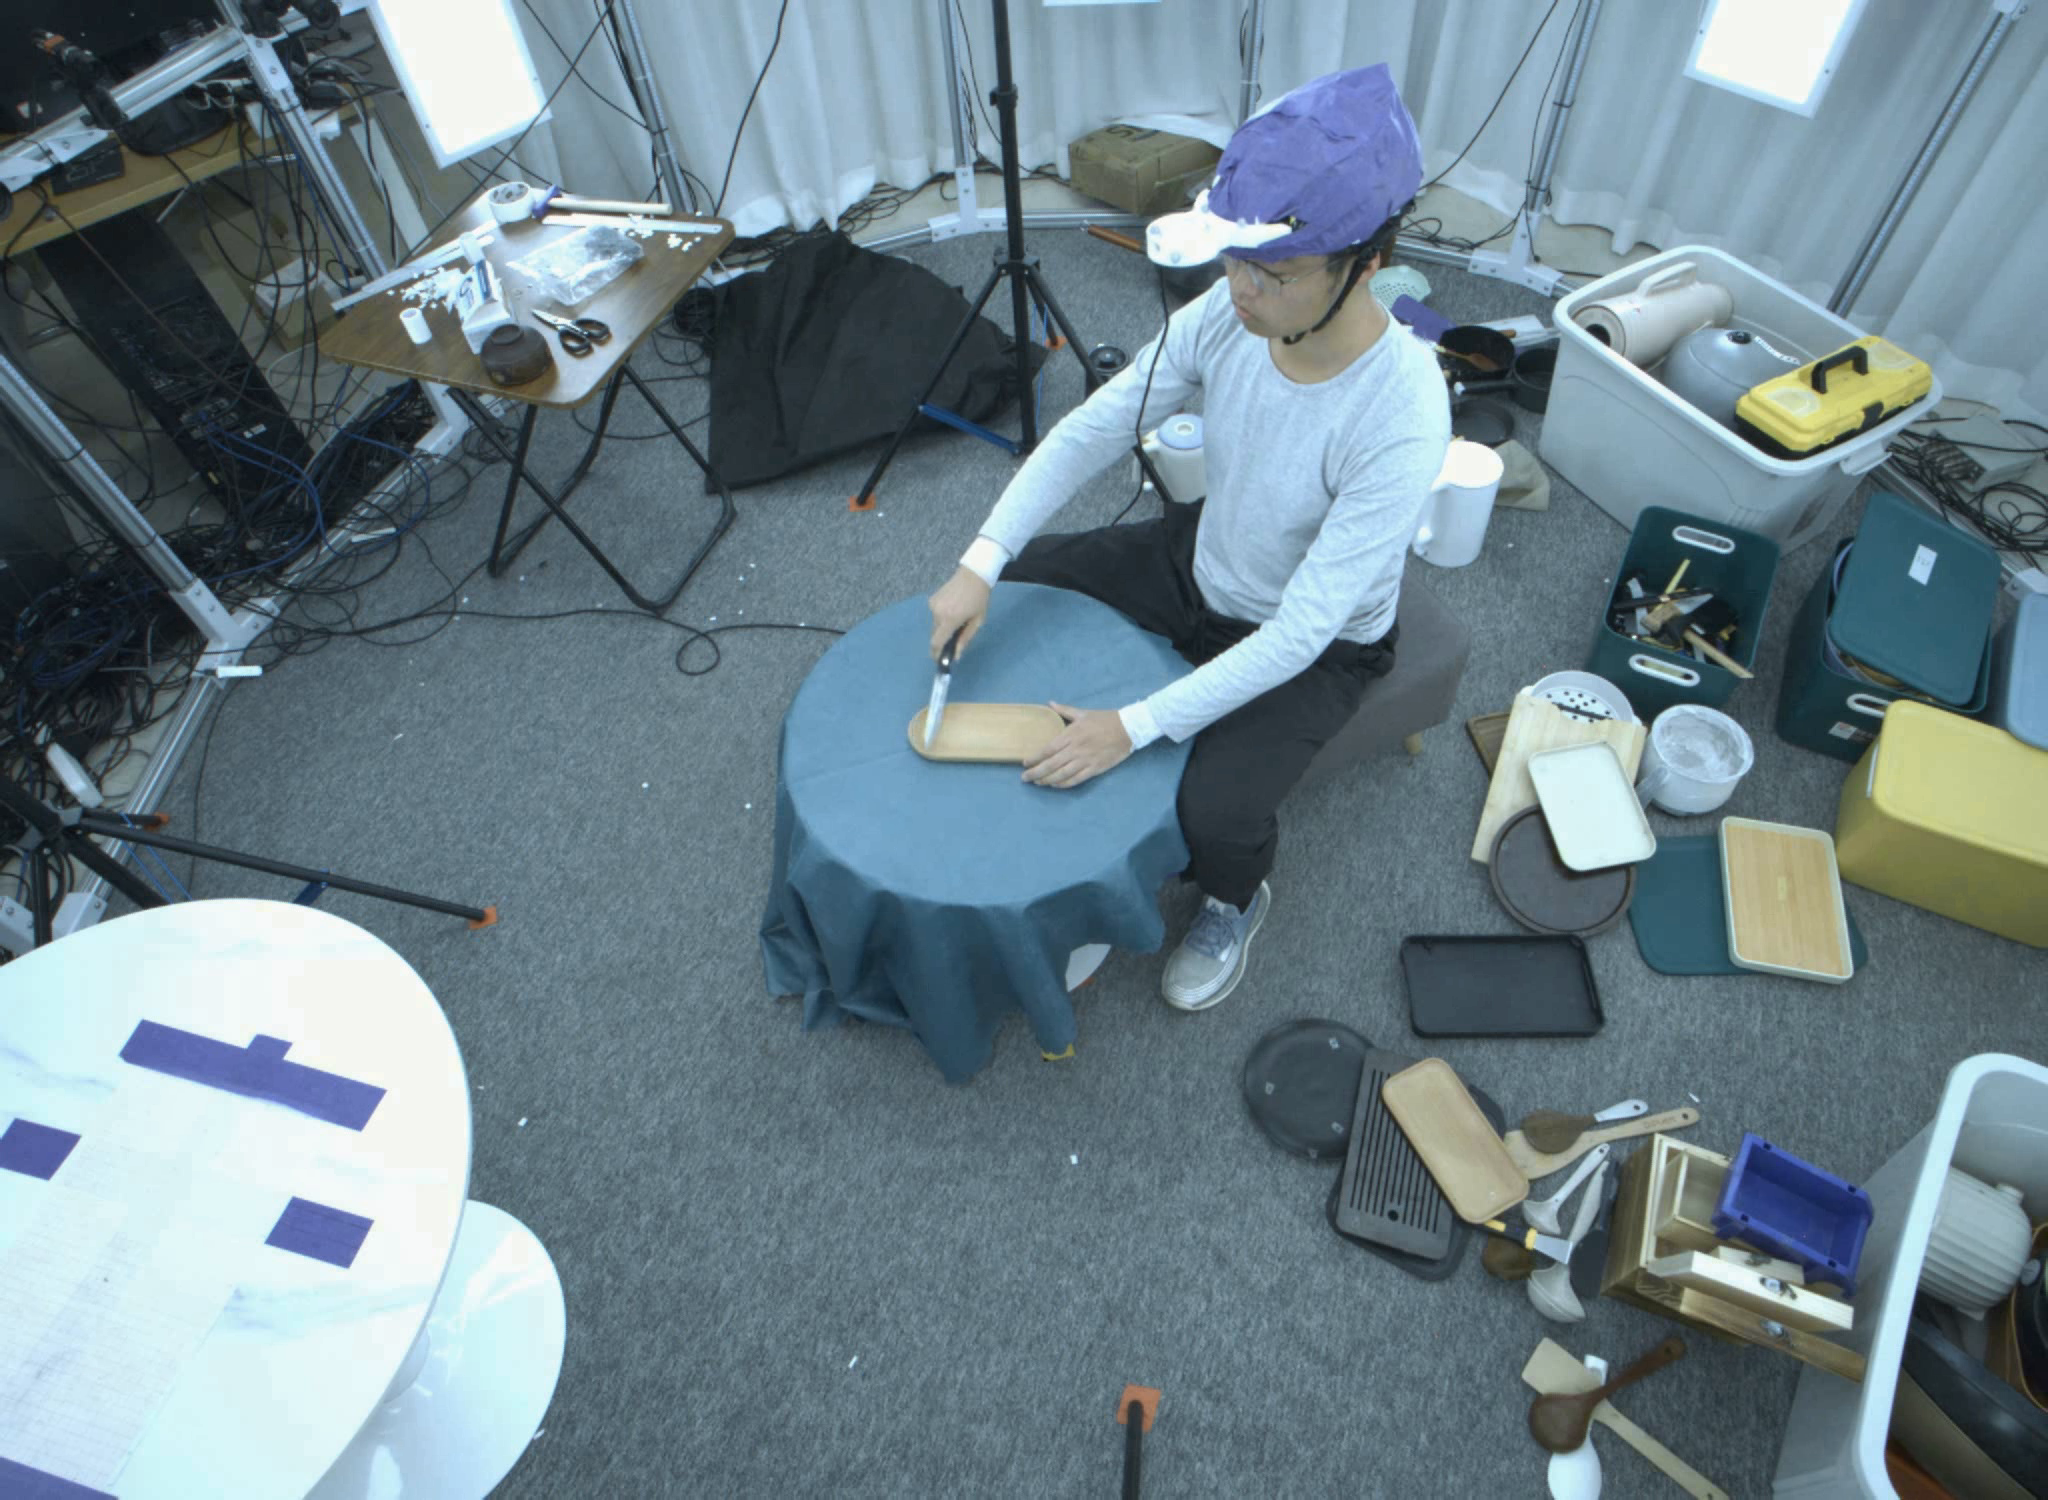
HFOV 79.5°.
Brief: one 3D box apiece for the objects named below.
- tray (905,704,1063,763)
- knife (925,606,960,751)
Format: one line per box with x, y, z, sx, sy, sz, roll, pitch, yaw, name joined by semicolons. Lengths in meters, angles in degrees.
-0.059;-0.023;1.804;0.231;0.020;0.100;-1;53;2;tray
-0.124;-0.108;1.802;0.025;0.016;0.237;19;67;-23;knife
